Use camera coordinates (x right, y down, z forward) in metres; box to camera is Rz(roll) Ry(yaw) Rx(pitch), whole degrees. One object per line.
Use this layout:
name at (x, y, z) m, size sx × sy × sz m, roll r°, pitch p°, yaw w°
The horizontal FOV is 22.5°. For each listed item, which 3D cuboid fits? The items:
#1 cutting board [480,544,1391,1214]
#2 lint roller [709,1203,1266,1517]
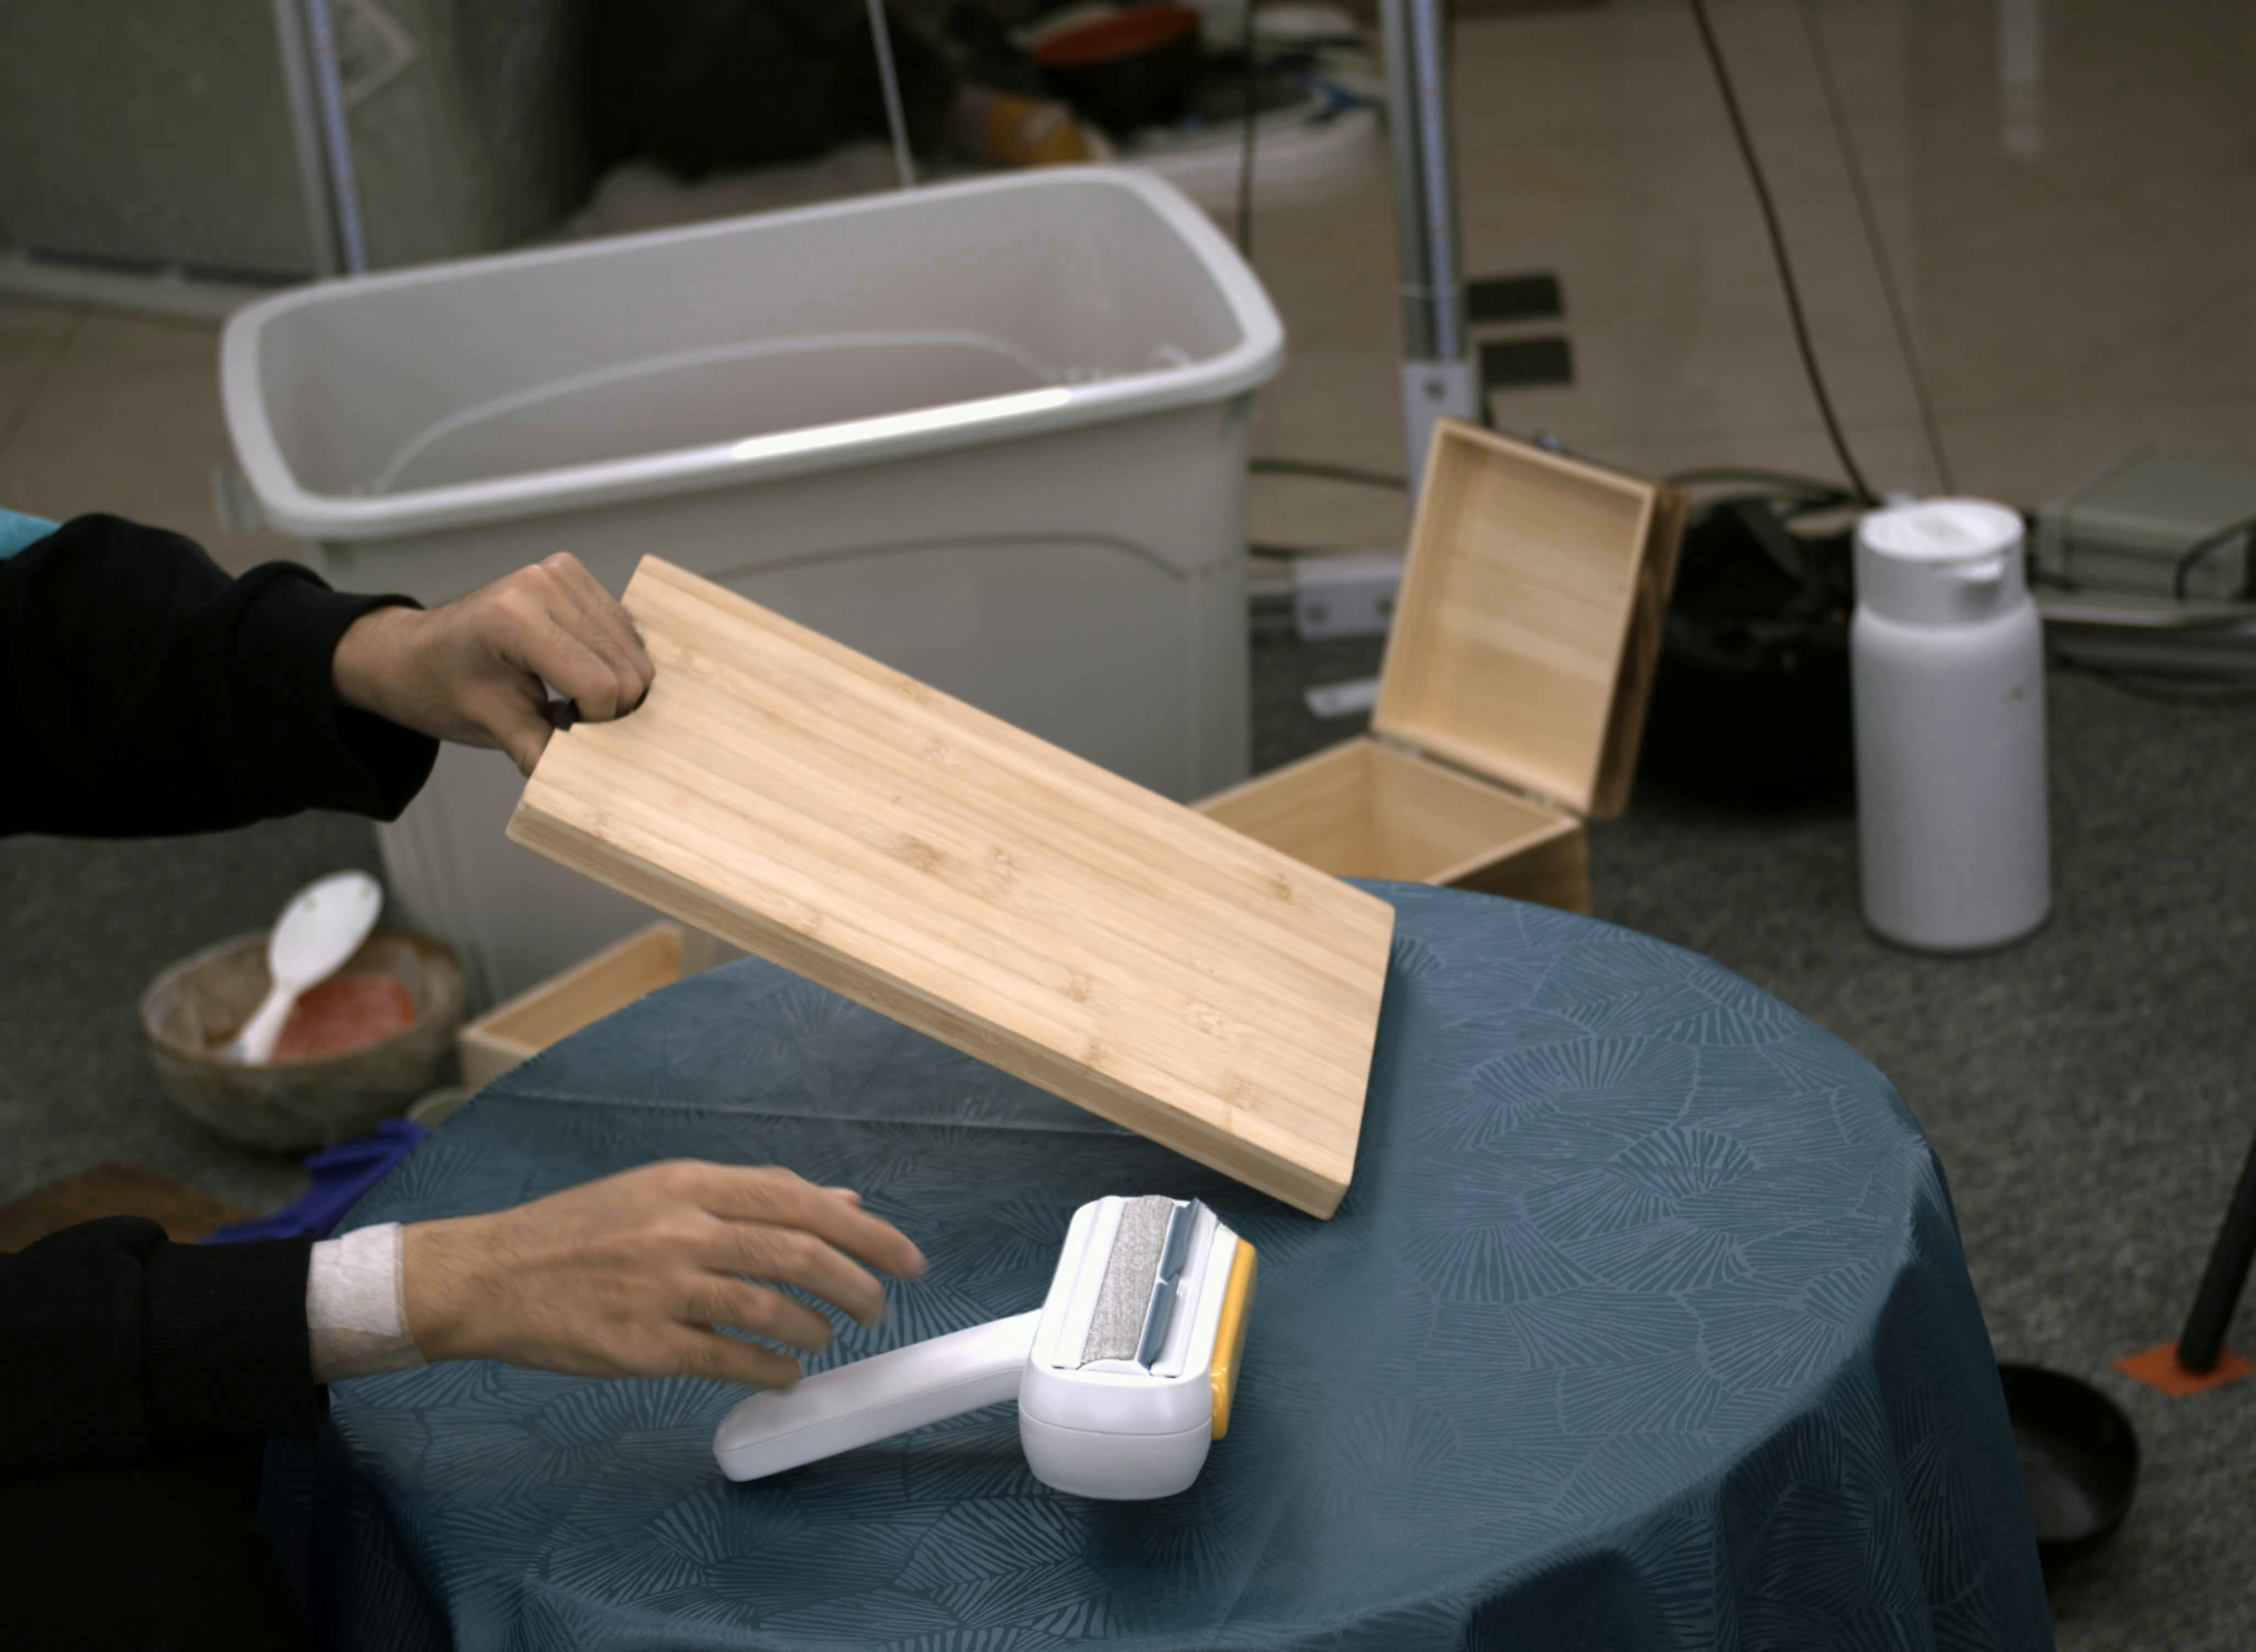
cutting board at (-0.066, 0.017, 2.192) m, size 0.349 × 0.024 × 0.247 m, roll 25°, pitch 26°, yaw -6°
lint roller at (-0.055, 0.191, 1.966) m, size 0.192 × 0.075 × 0.190 m, roll -4°, pitch 20°, yaw 11°
